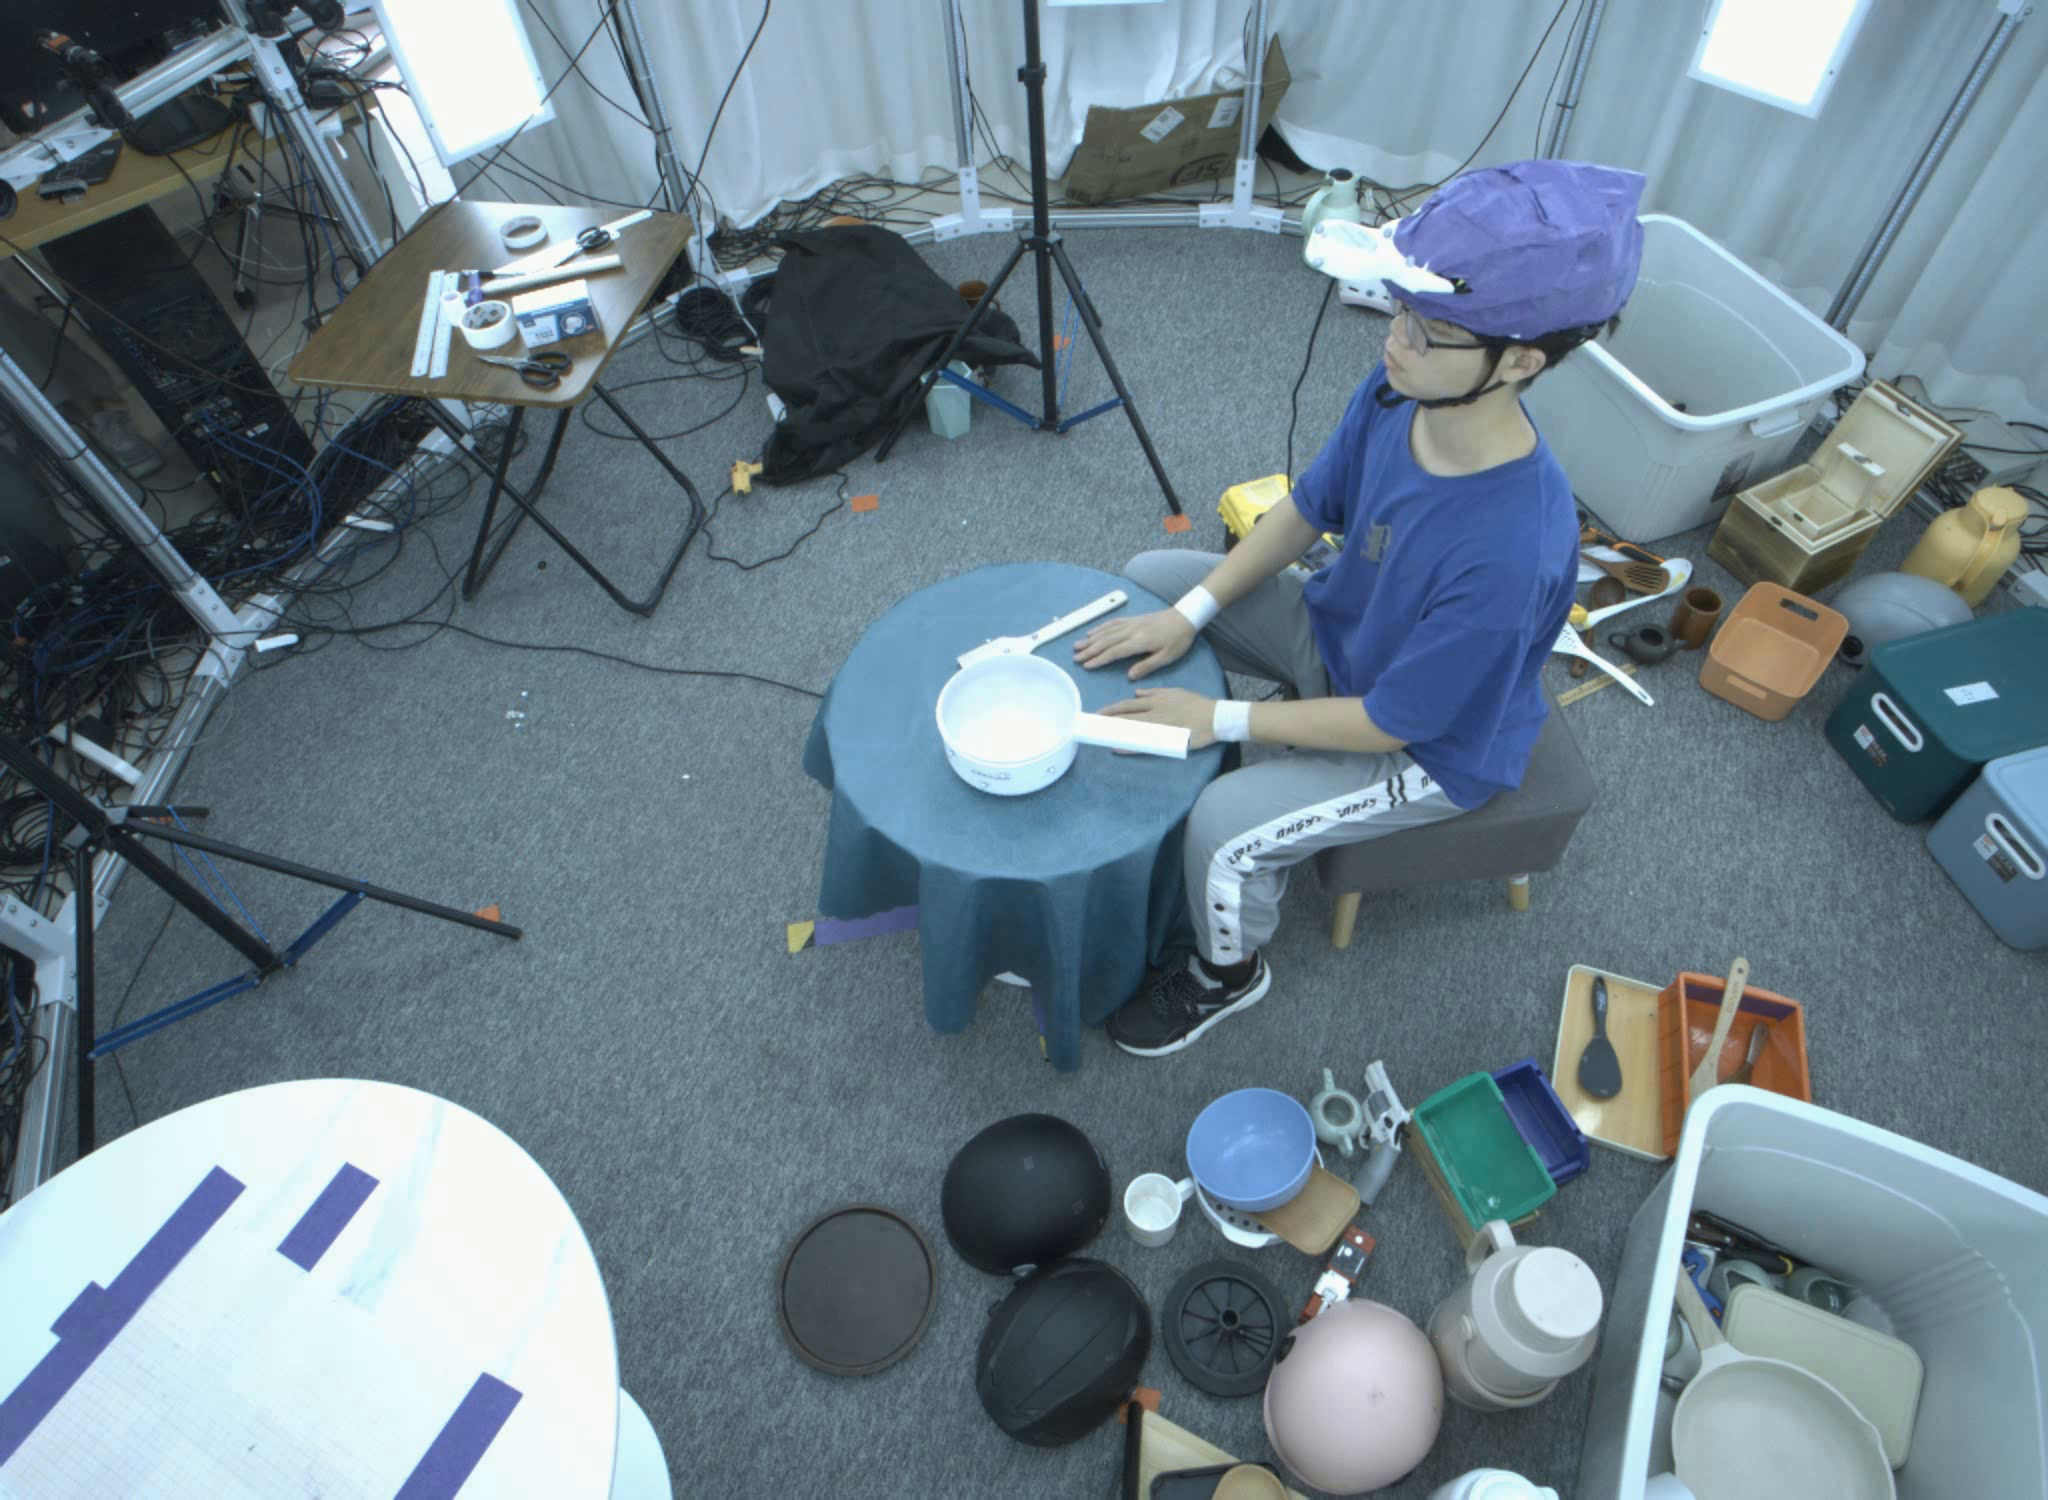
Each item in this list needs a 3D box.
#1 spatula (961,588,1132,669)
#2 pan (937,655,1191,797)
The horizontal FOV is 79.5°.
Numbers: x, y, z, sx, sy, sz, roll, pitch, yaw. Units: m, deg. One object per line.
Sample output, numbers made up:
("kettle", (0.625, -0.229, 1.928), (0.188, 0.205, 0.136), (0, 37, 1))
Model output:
("spatula", (0.042, -0.185, 1.901), (0.295, 0.011, 0.071), (-28, 56, -17))
("pan", (0.056, -0.017, 1.728), (0.352, 0.103, 0.200), (10, 54, 9))
